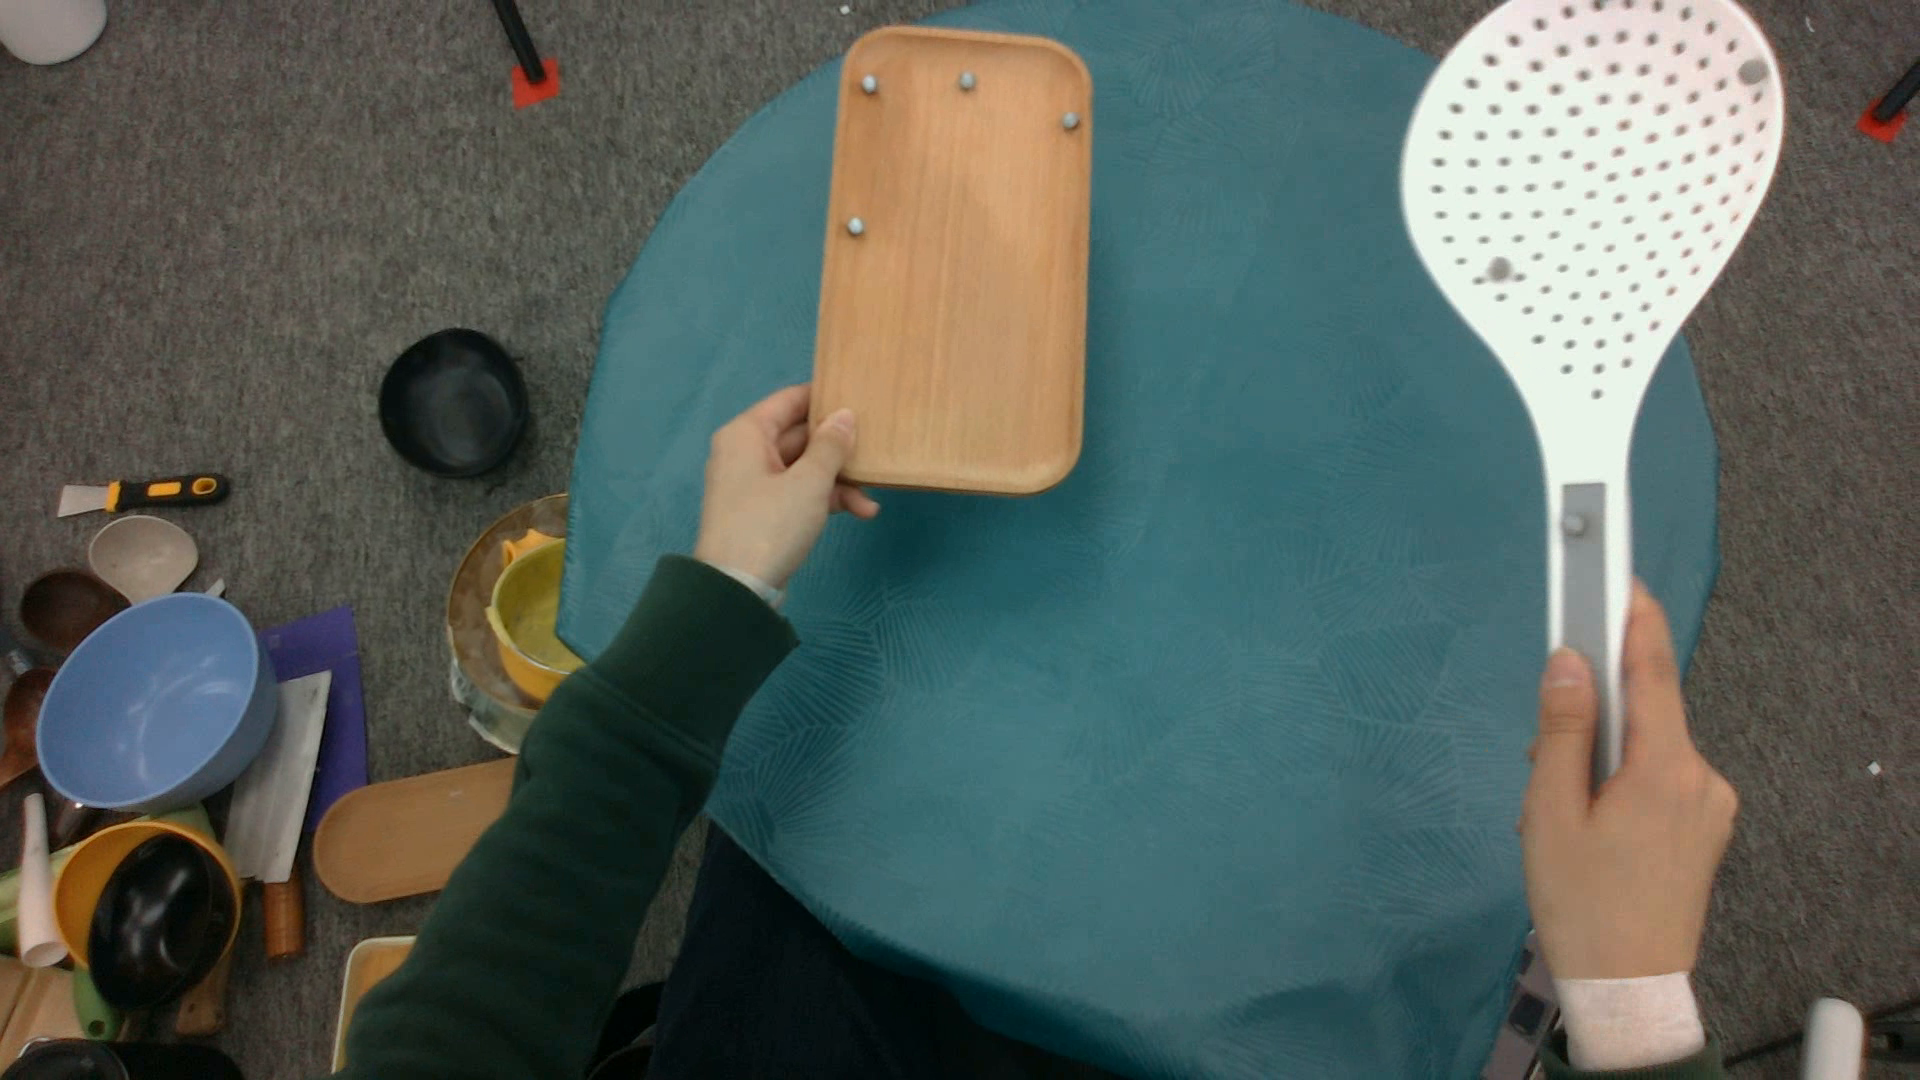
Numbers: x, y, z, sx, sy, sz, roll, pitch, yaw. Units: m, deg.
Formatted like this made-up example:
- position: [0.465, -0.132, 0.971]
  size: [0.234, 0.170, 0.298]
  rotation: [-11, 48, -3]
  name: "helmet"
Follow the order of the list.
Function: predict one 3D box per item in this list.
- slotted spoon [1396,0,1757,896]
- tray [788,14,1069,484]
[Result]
- position: [0.227, -0.045, 0.517]
  size: [0.135, 0.046, 0.350]
  rotation: [-1, 81, 48]
  name: "slotted spoon"
- position: [-0.012, -0.146, 0.669]
  size: [0.130, 0.023, 0.251]
  rotation: [3, 71, -2]
  name: "tray"
